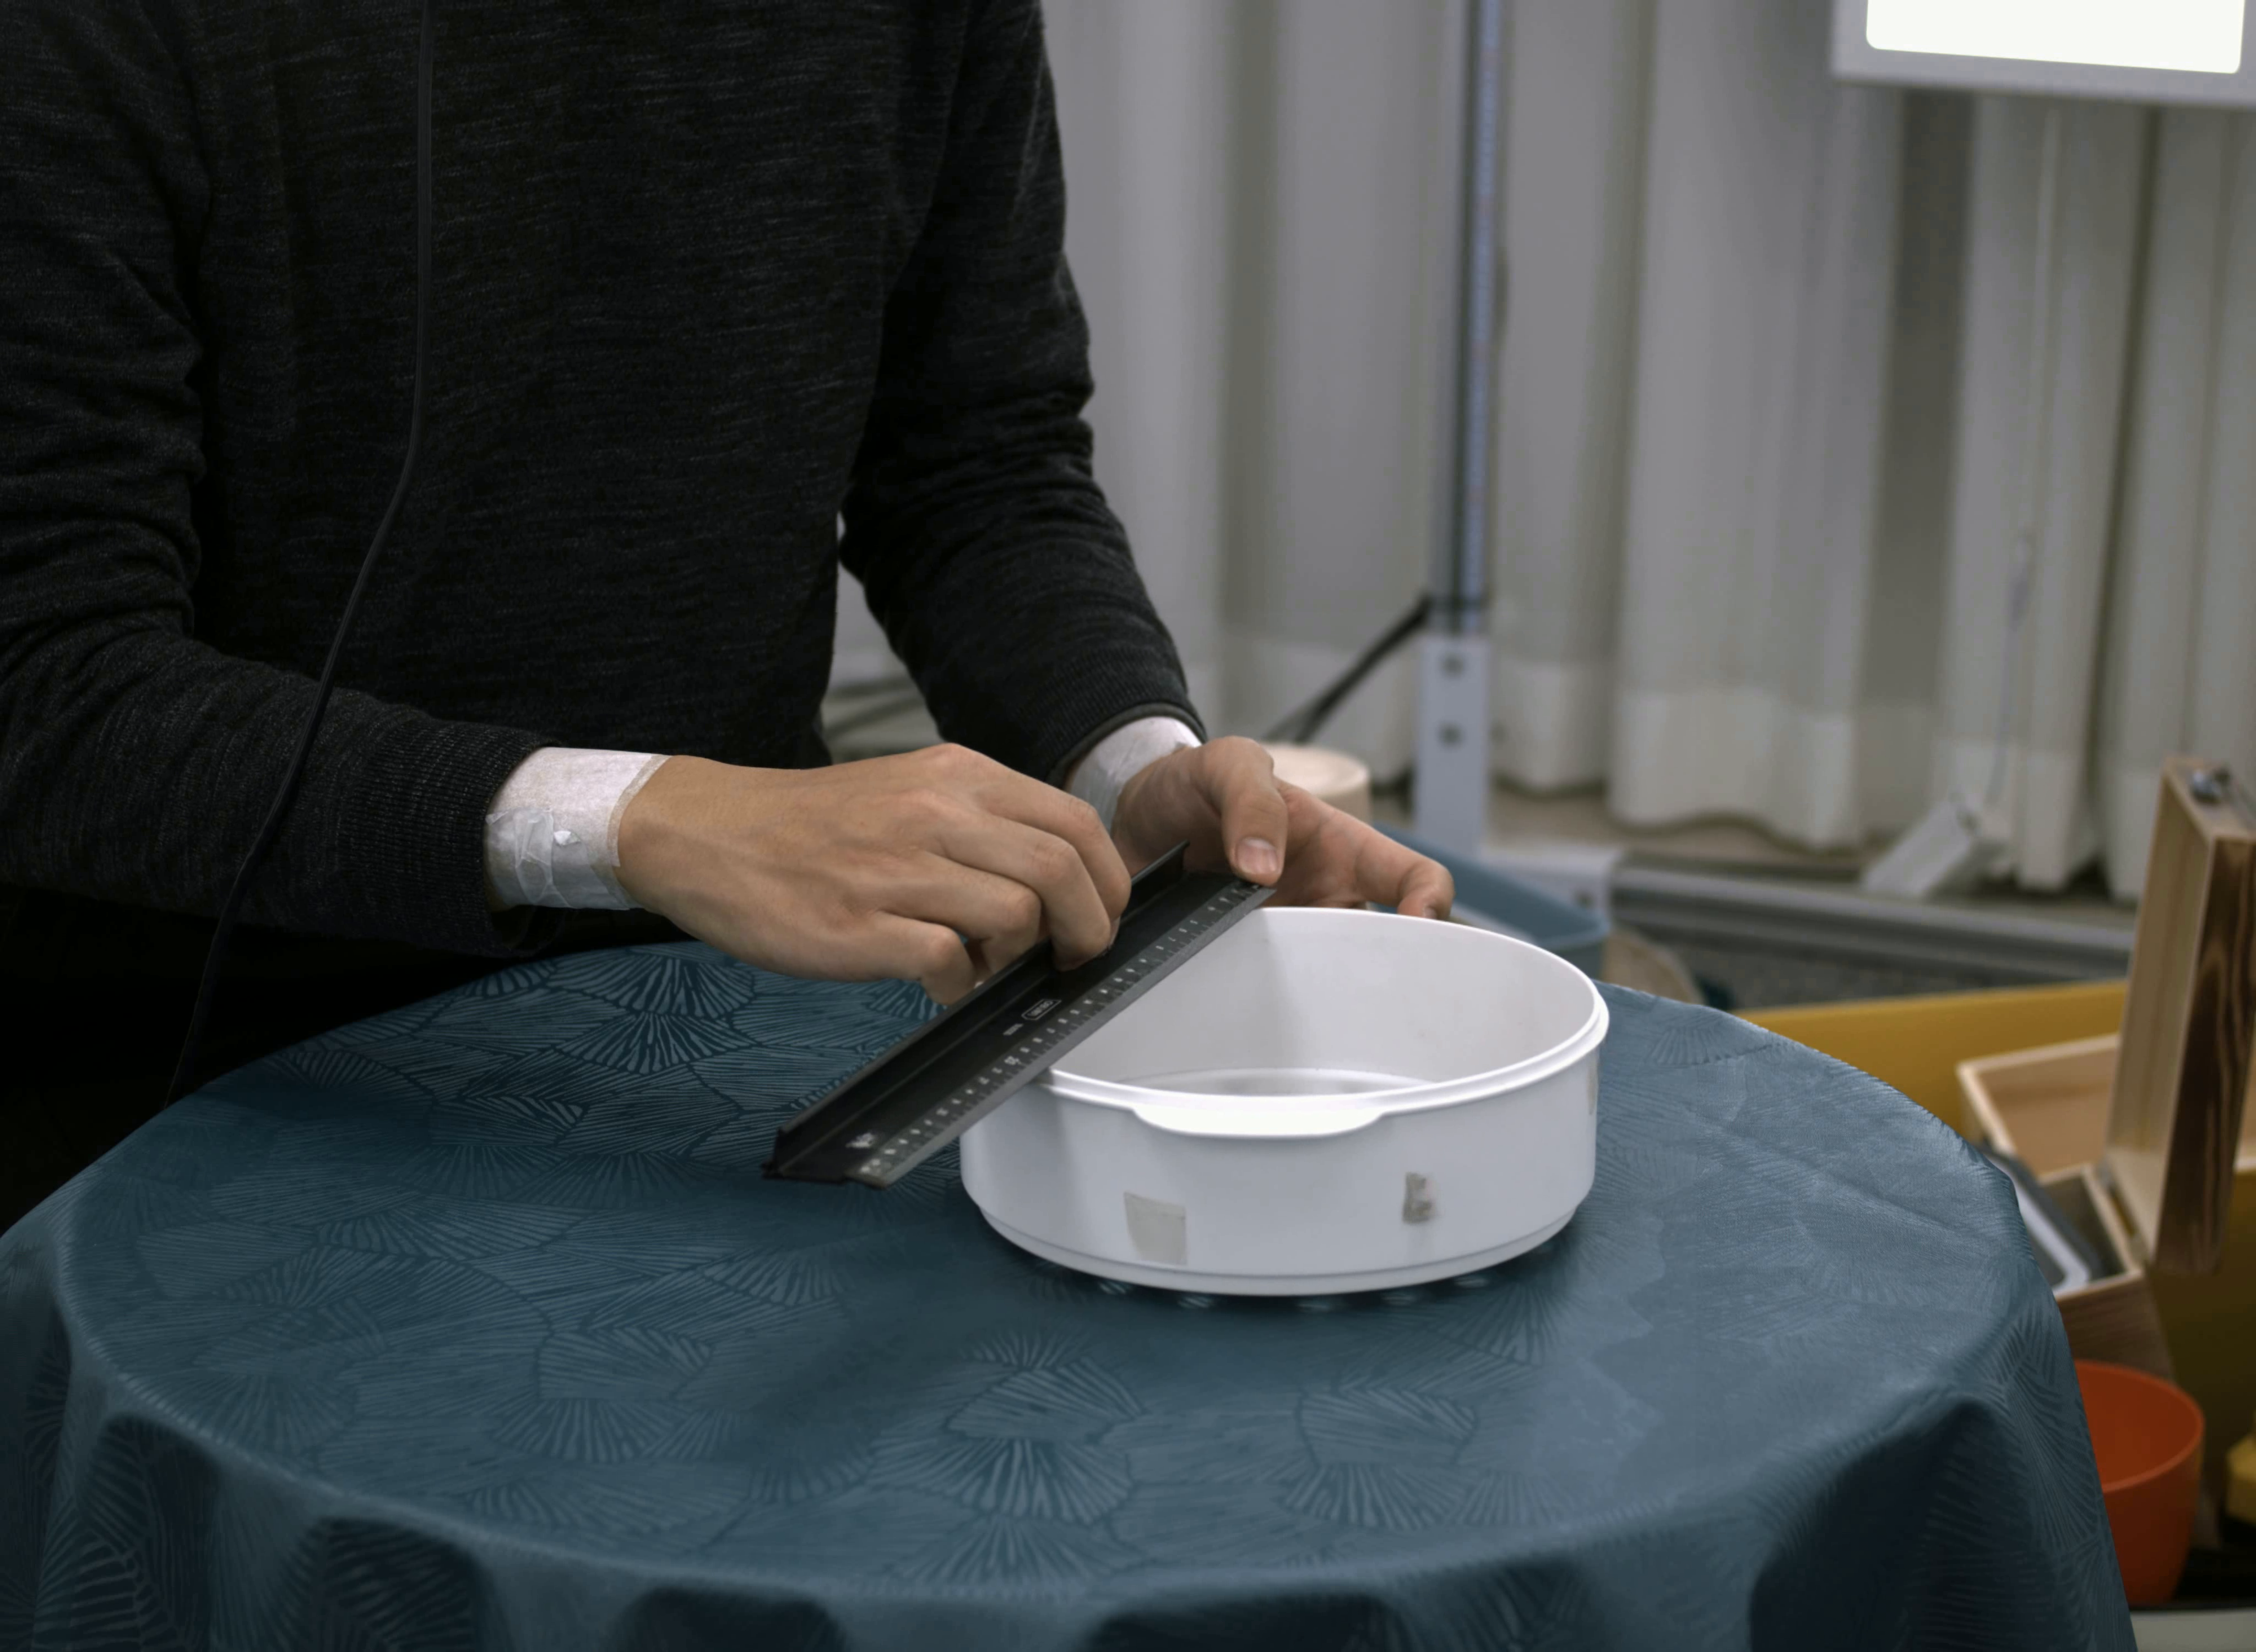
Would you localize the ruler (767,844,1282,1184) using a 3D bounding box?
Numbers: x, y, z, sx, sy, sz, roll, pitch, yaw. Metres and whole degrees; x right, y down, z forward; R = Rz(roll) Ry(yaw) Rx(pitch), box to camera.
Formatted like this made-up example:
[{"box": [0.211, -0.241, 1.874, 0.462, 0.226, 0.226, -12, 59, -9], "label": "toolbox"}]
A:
[{"box": [-0.025, 0.051, 1.559, 0.039, 0.017, 0.313, 6, 16, 21], "label": "ruler"}]

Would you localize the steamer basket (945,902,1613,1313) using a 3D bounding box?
[{"box": [0.046, 0.085, 1.593, 0.201, 0.070, 0.229, 1, 17, 4], "label": "steamer basket"}]
